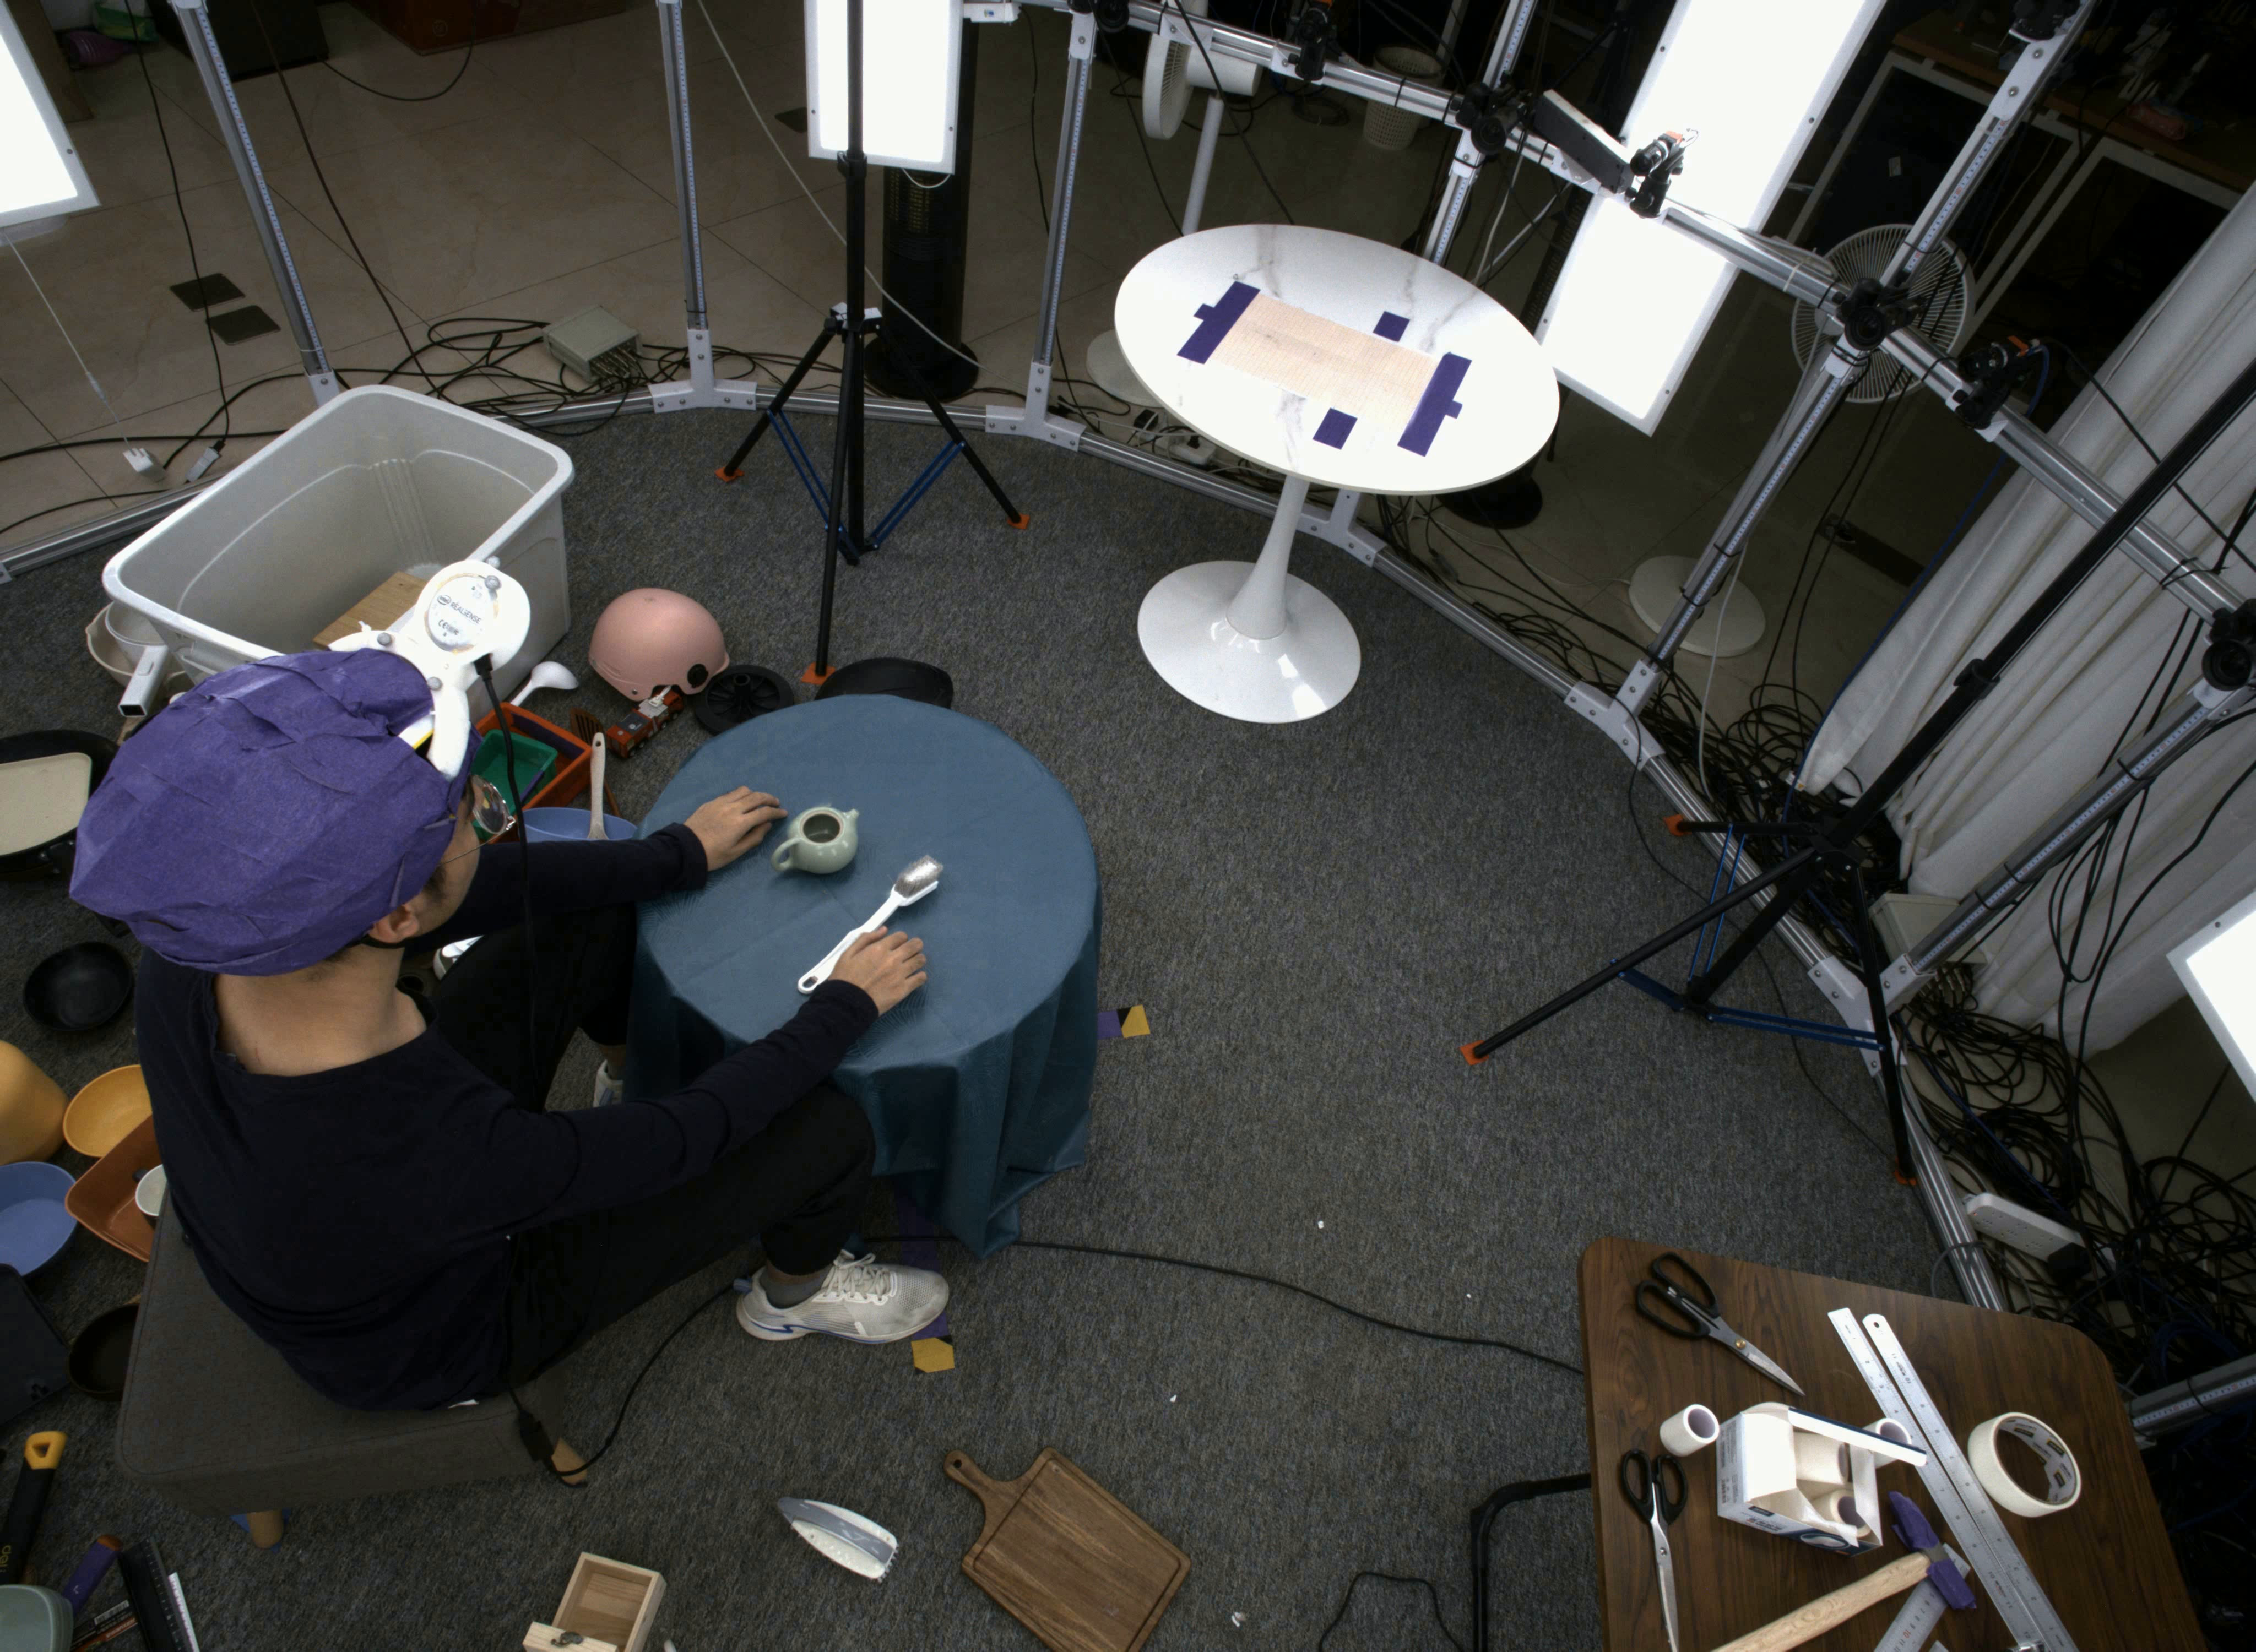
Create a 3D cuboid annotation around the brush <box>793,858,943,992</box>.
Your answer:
[{"bbox_3d":[-0.325,0.118,1.632,0.034,0.051,0.244,40,55,14],"label":"brush"}]

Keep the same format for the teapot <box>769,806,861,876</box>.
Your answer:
[{"bbox_3d":[-0.404,0.023,1.677,0.129,0.062,0.090,-23,67,-27],"label":"teapot"}]
